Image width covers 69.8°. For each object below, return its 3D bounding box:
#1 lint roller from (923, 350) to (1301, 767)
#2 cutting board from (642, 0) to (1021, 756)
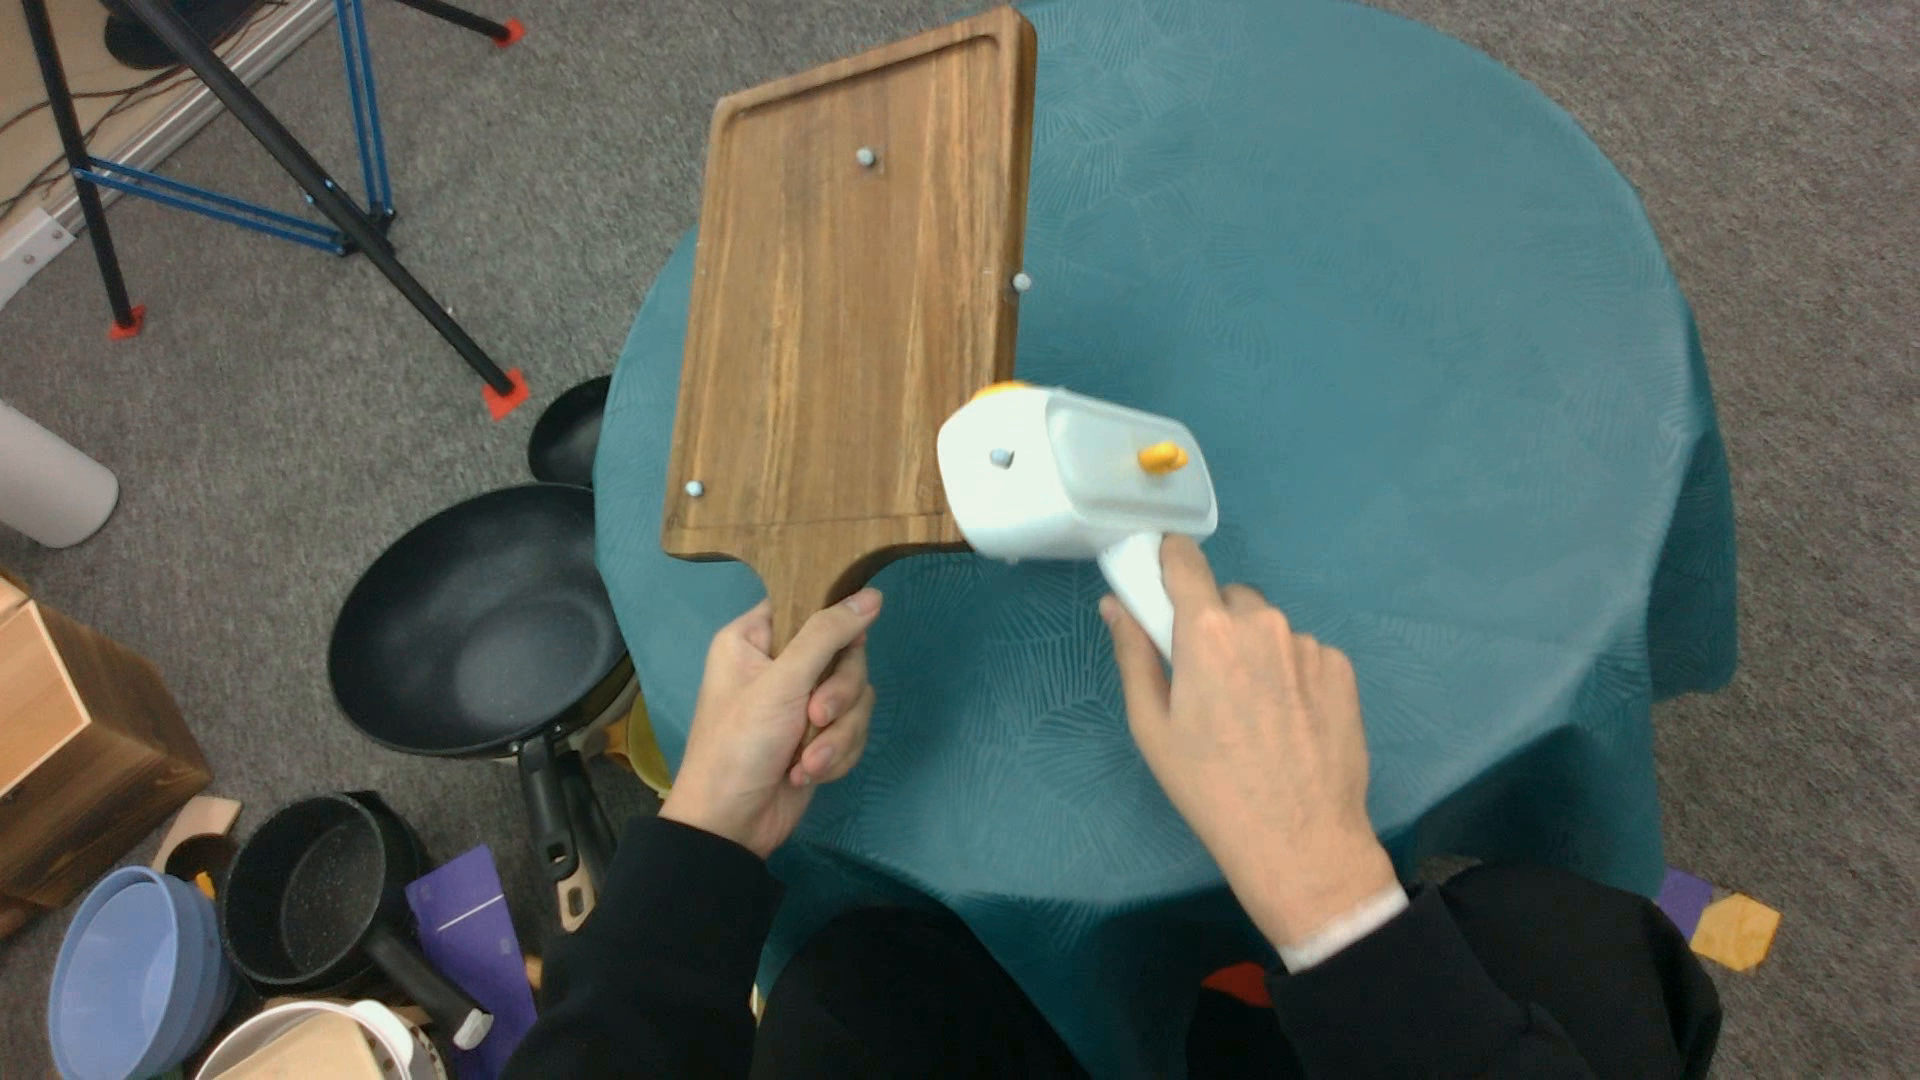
[{"bbox_3d":[0.076,0.011,0.576,0.074,0.193,0.192,-27,81,22],"label":"lint roller"},{"bbox_3d":[-0.068,-0.076,0.649,0.200,0.023,0.353,-3,77,33],"label":"cutting board"}]
